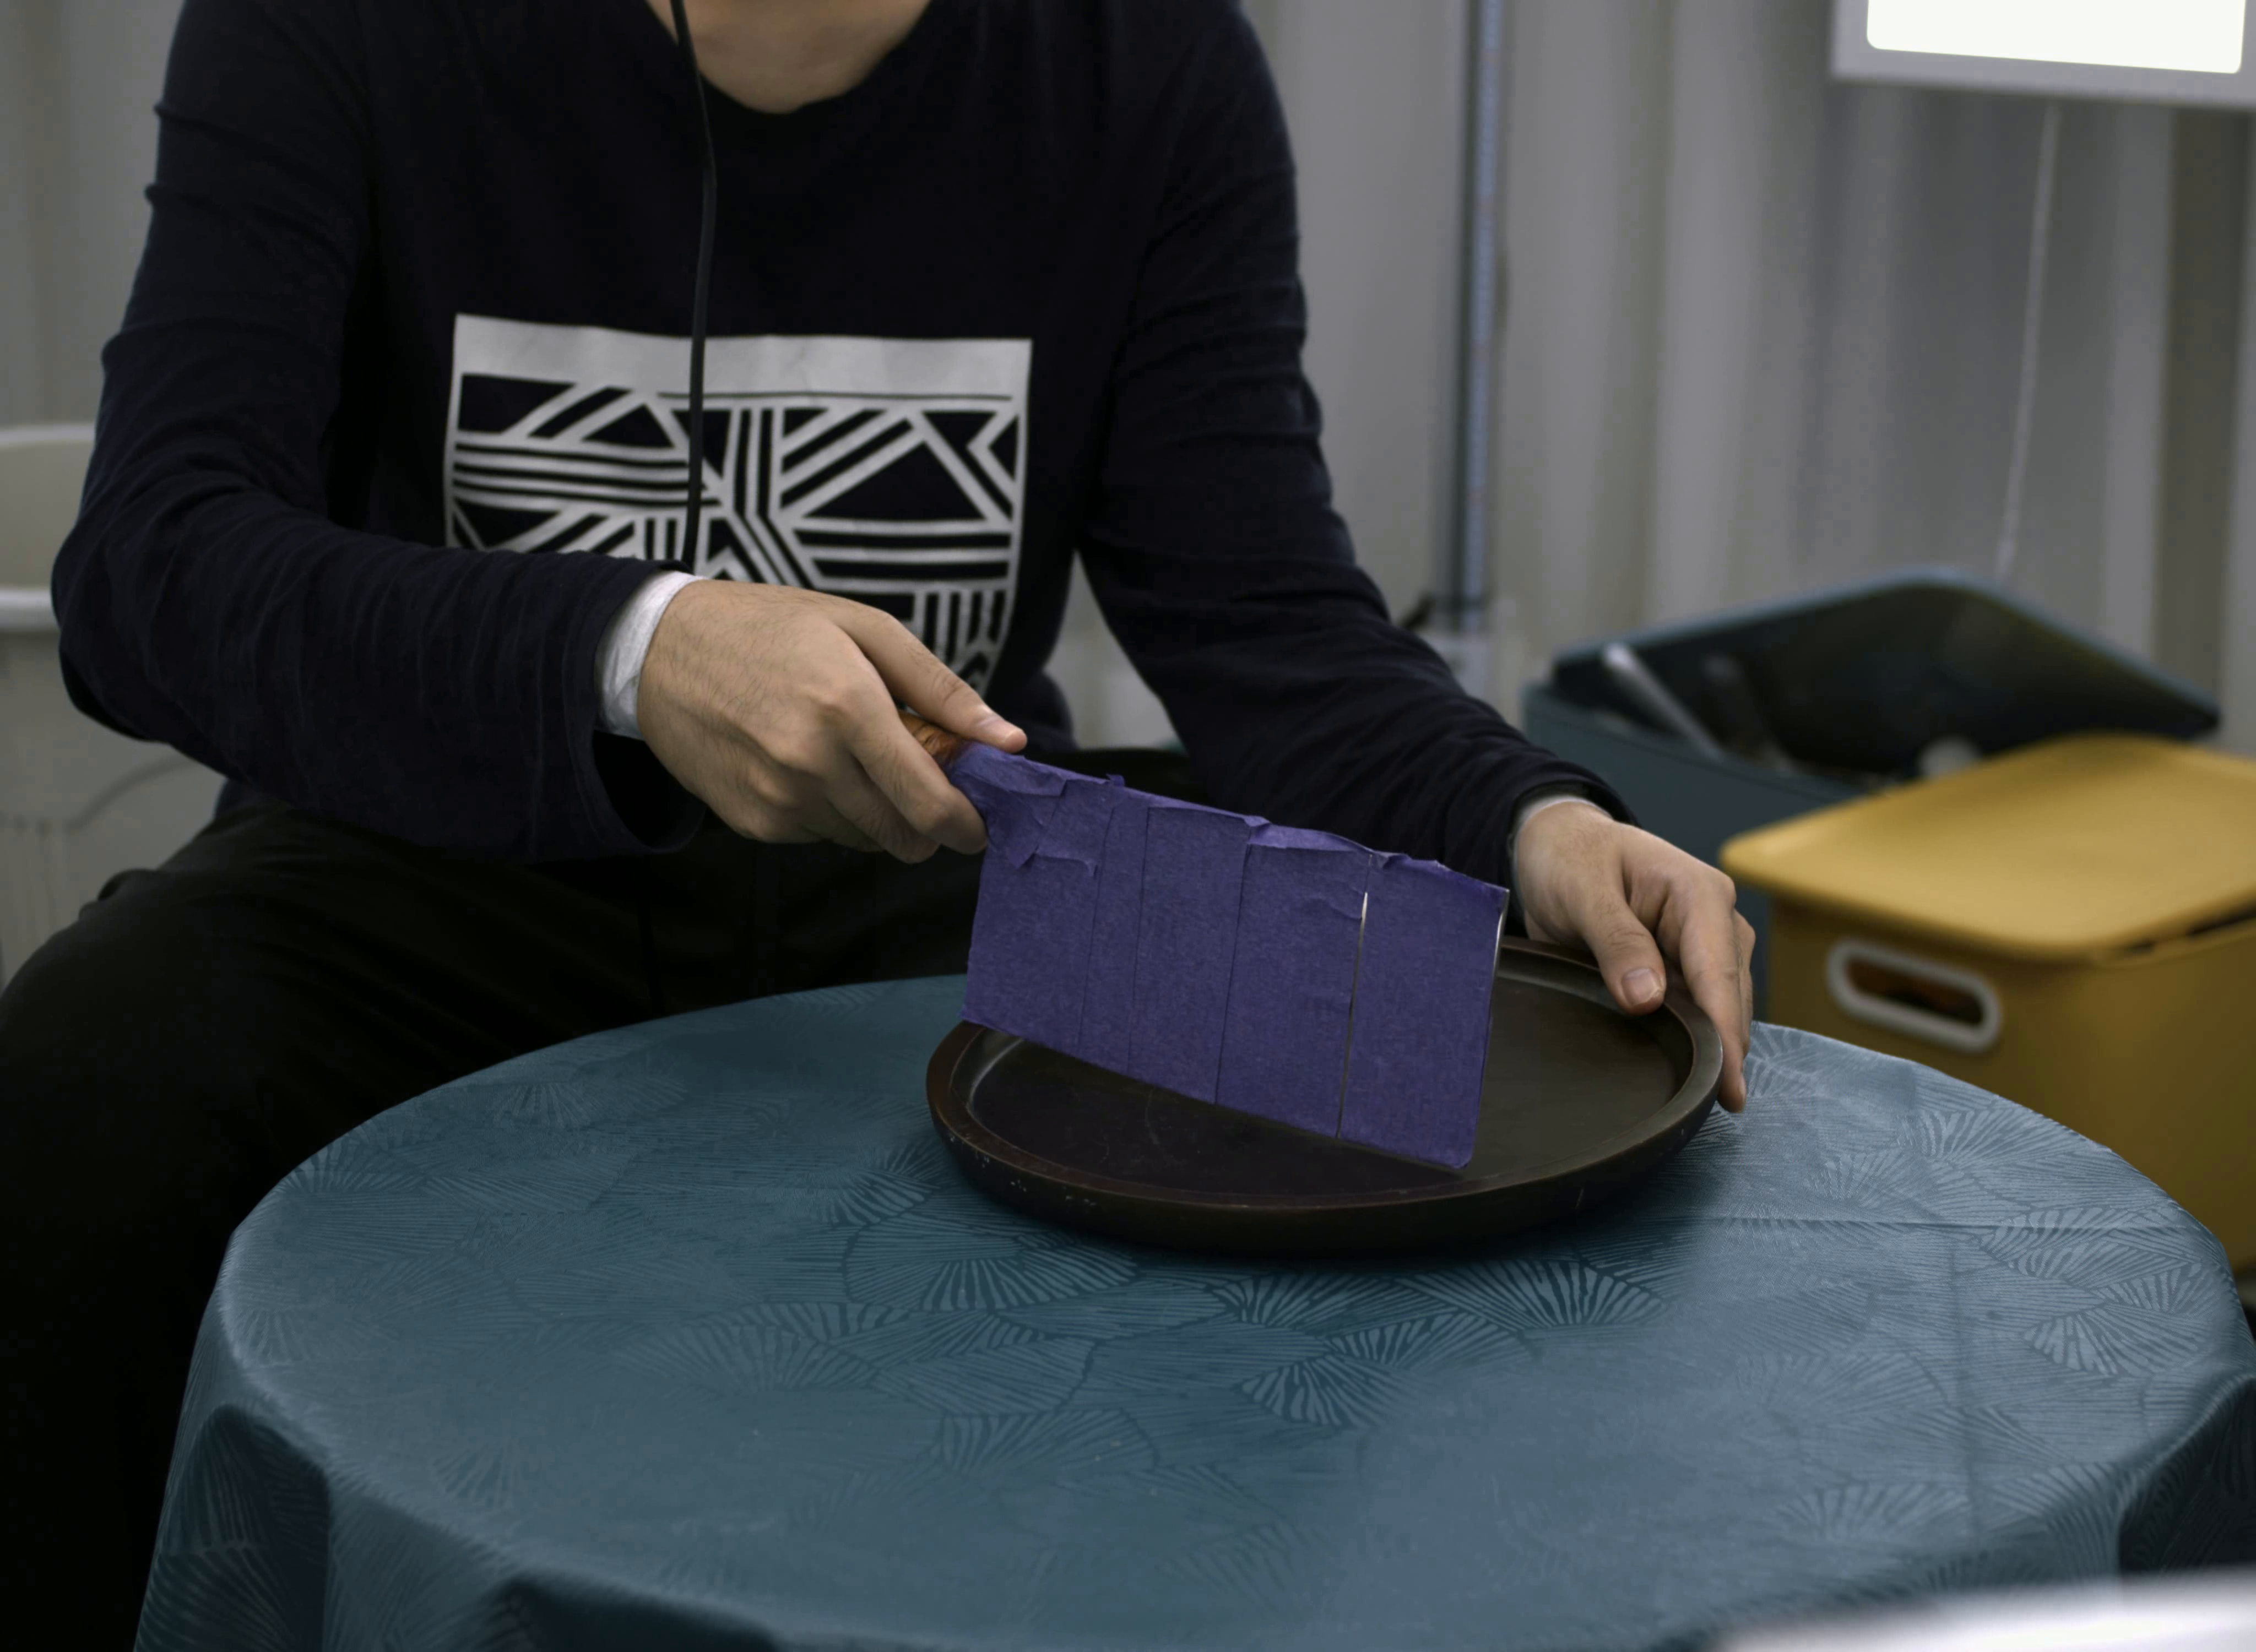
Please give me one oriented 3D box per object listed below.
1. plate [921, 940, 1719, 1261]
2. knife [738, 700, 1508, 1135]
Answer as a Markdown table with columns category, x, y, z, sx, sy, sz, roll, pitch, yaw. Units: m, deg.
| category | x | y | z | sx | sy | sz | roll | pitch | yaw |
| --- | --- | --- | --- | --- | --- | --- | --- | --- | --- |
| plate | 0.061 | 0.082 | 1.665 | 0.254 | 0.029 | 0.253 | -3 | 18 | 2 |
| knife | -0.011 | 0.029 | 1.668 | 0.311 | 0.104 | 0.032 | 14 | 9 | 40 |
